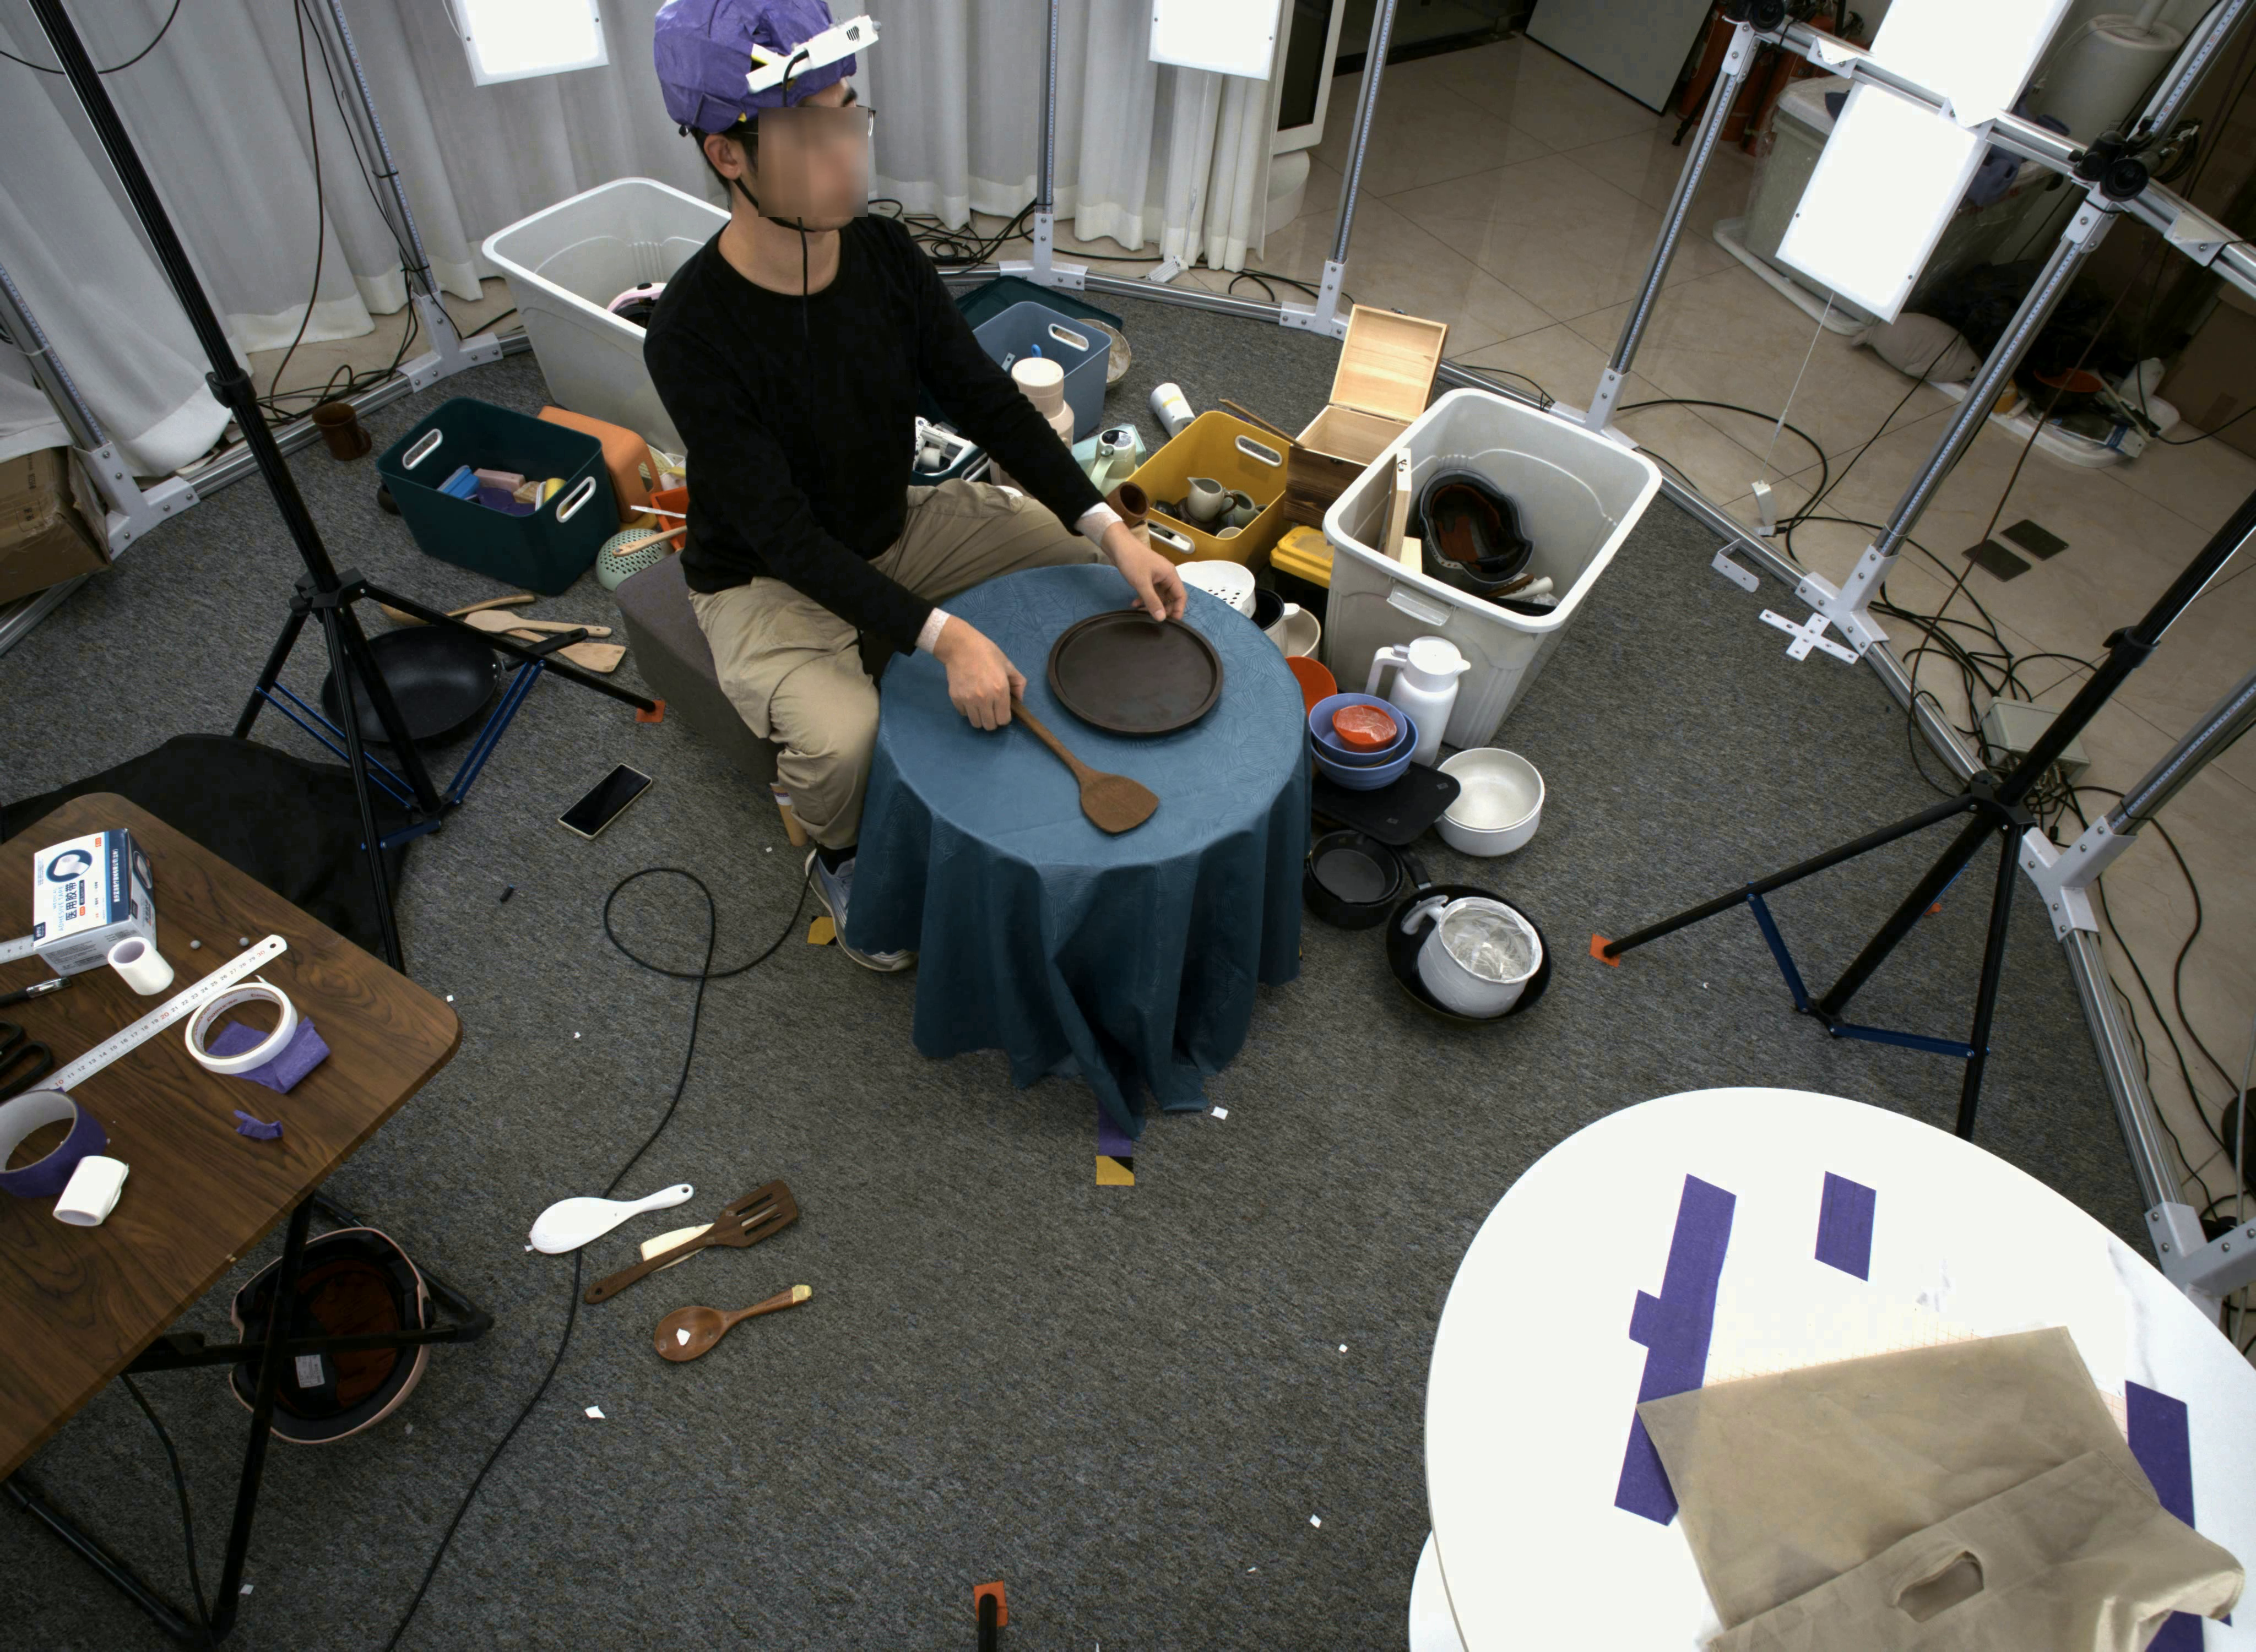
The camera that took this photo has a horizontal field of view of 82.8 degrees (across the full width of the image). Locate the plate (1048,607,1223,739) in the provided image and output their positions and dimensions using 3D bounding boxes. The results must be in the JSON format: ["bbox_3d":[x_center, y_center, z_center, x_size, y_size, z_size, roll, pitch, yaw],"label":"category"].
[{"bbox_3d":[0.011,-0.219,1.845,0.254,0.028,0.261,1,50,-2],"label":"plate"}]

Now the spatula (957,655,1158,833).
[{"bbox_3d":[-0.113,-0.123,1.752,0.097,0.015,0.392,-32,61,-28],"label":"spatula"}]
